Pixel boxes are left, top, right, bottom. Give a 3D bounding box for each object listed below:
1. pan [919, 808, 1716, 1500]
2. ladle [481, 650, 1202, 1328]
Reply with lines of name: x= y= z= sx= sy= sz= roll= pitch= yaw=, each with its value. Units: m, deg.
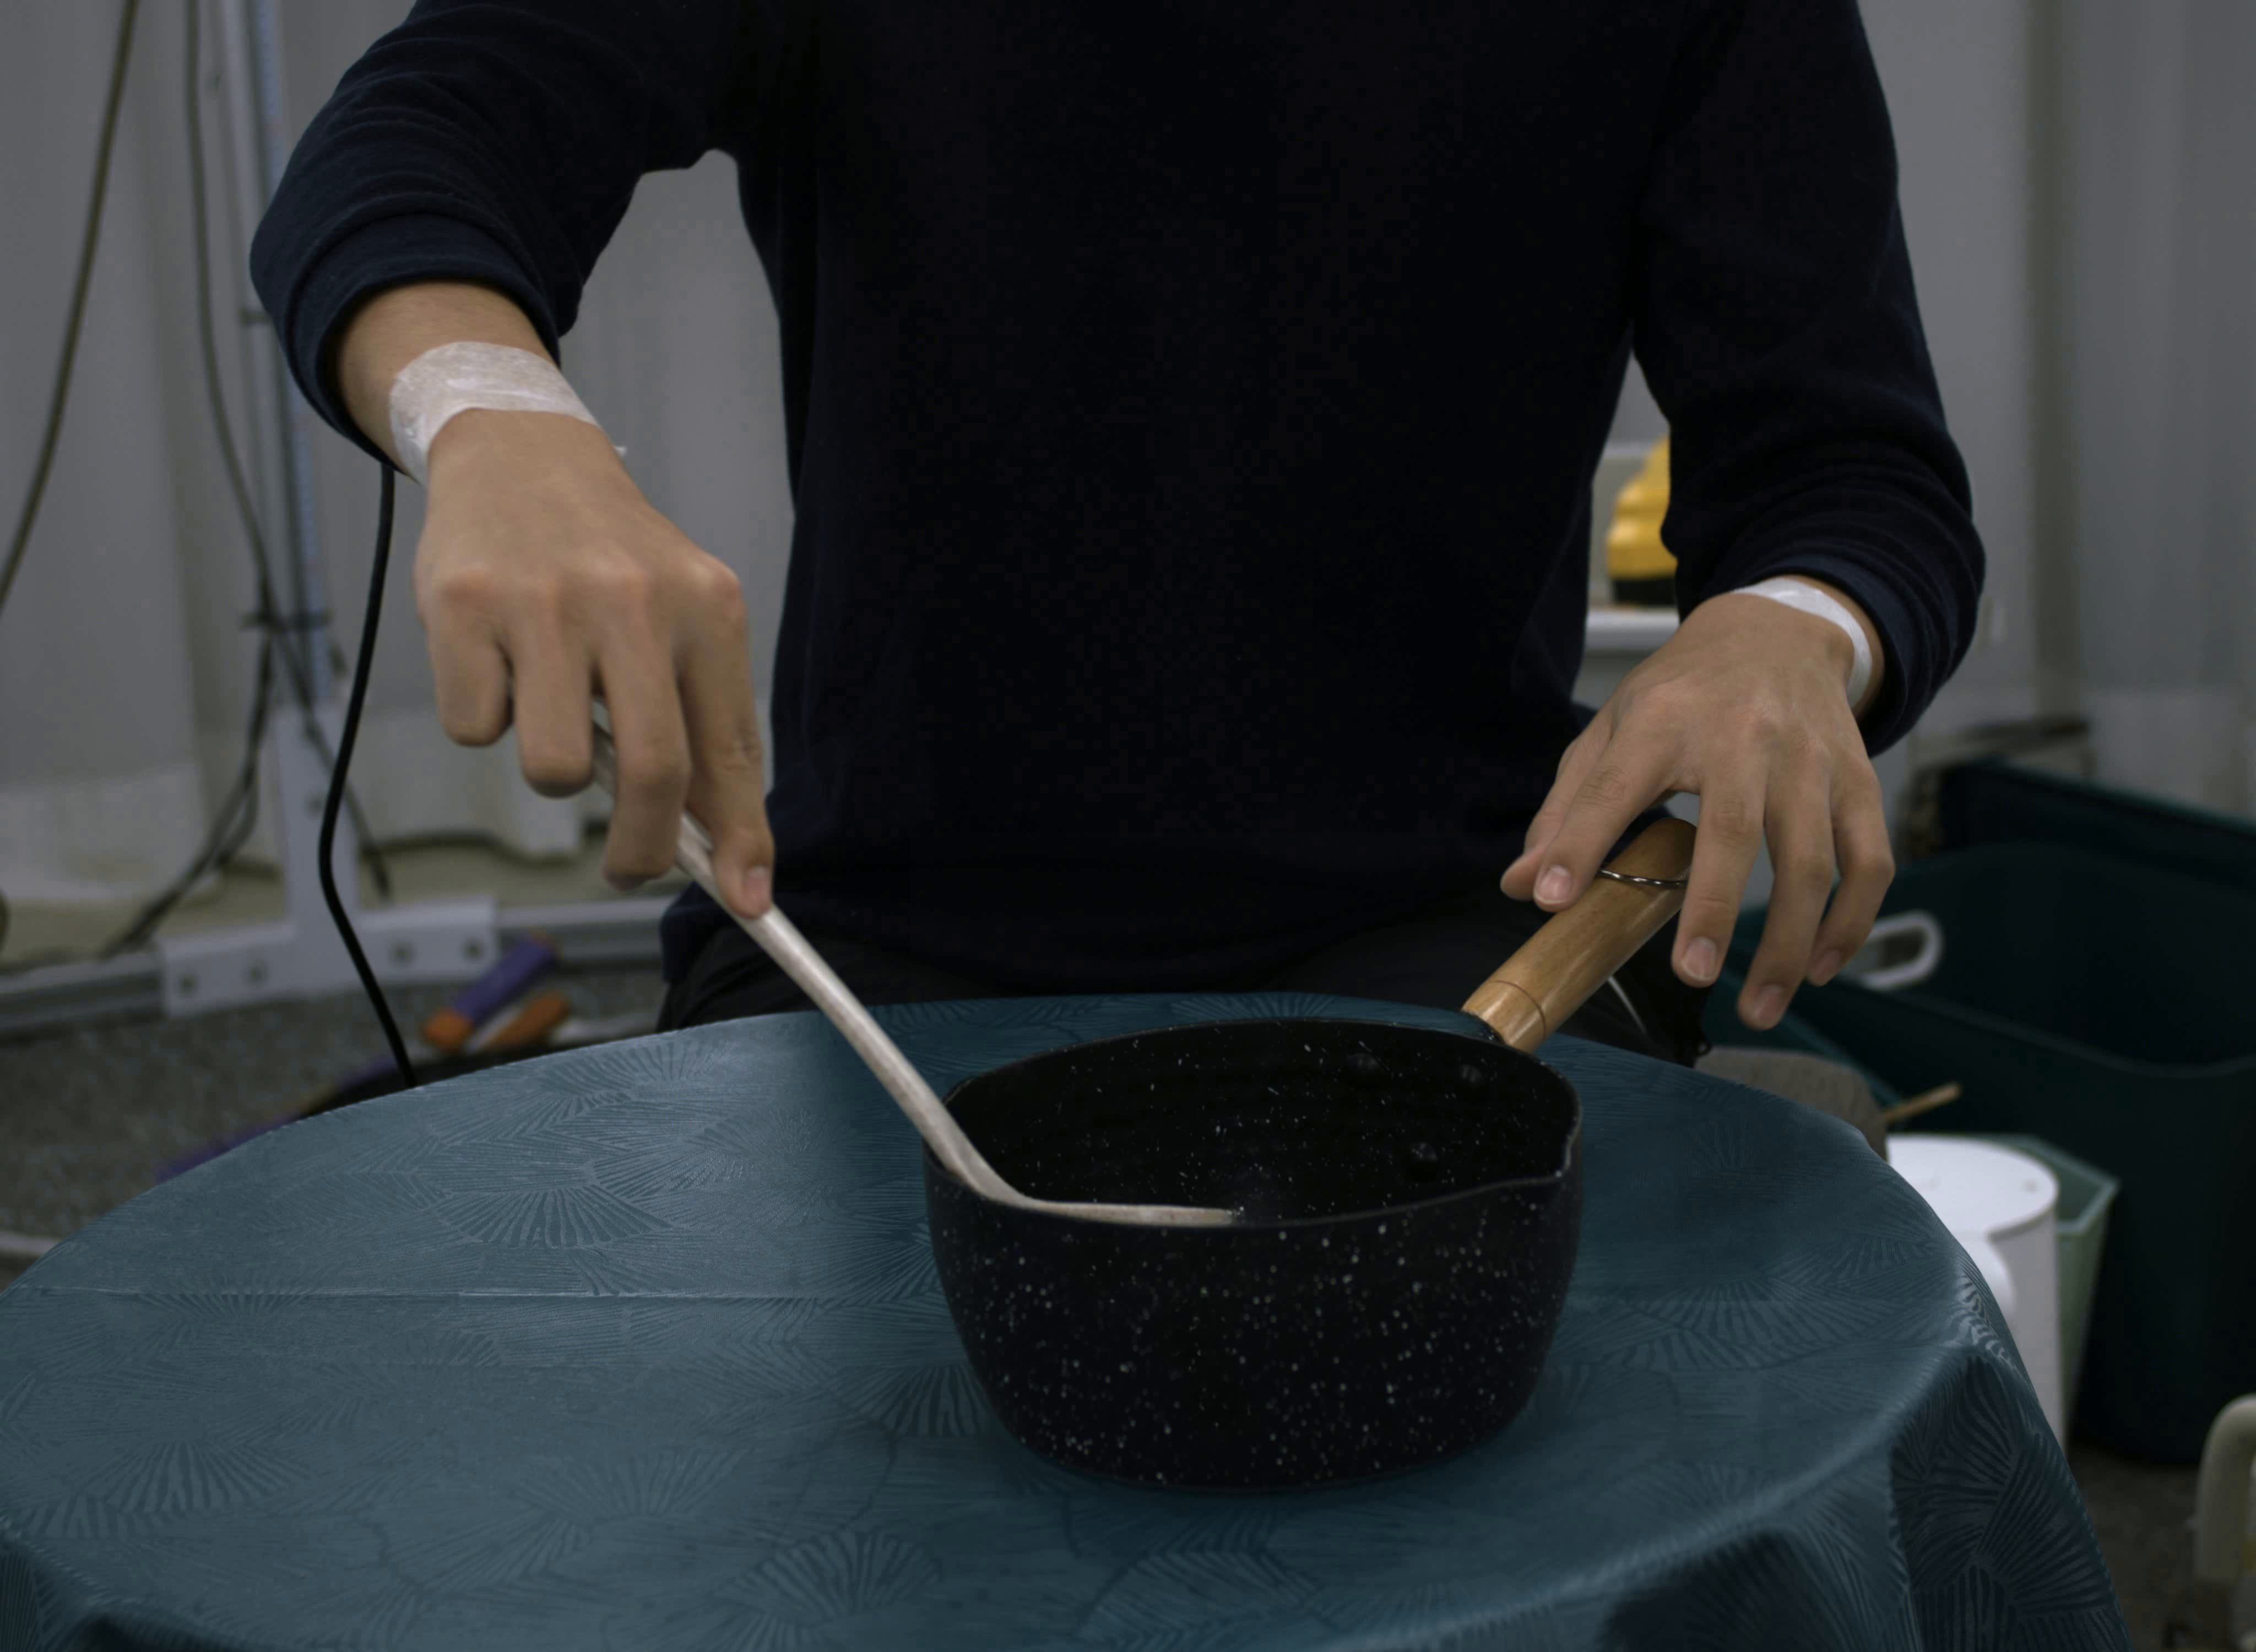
pan: x=0.079 y=0.090 z=1.585 sx=0.208 sy=0.108 sz=0.343 roll=6 pitch=19 yaw=33
ladle: x=-0.062 y=0.040 z=1.481 sx=0.069 sy=0.273 sz=0.090 roll=-36 pitch=11 yaw=17
